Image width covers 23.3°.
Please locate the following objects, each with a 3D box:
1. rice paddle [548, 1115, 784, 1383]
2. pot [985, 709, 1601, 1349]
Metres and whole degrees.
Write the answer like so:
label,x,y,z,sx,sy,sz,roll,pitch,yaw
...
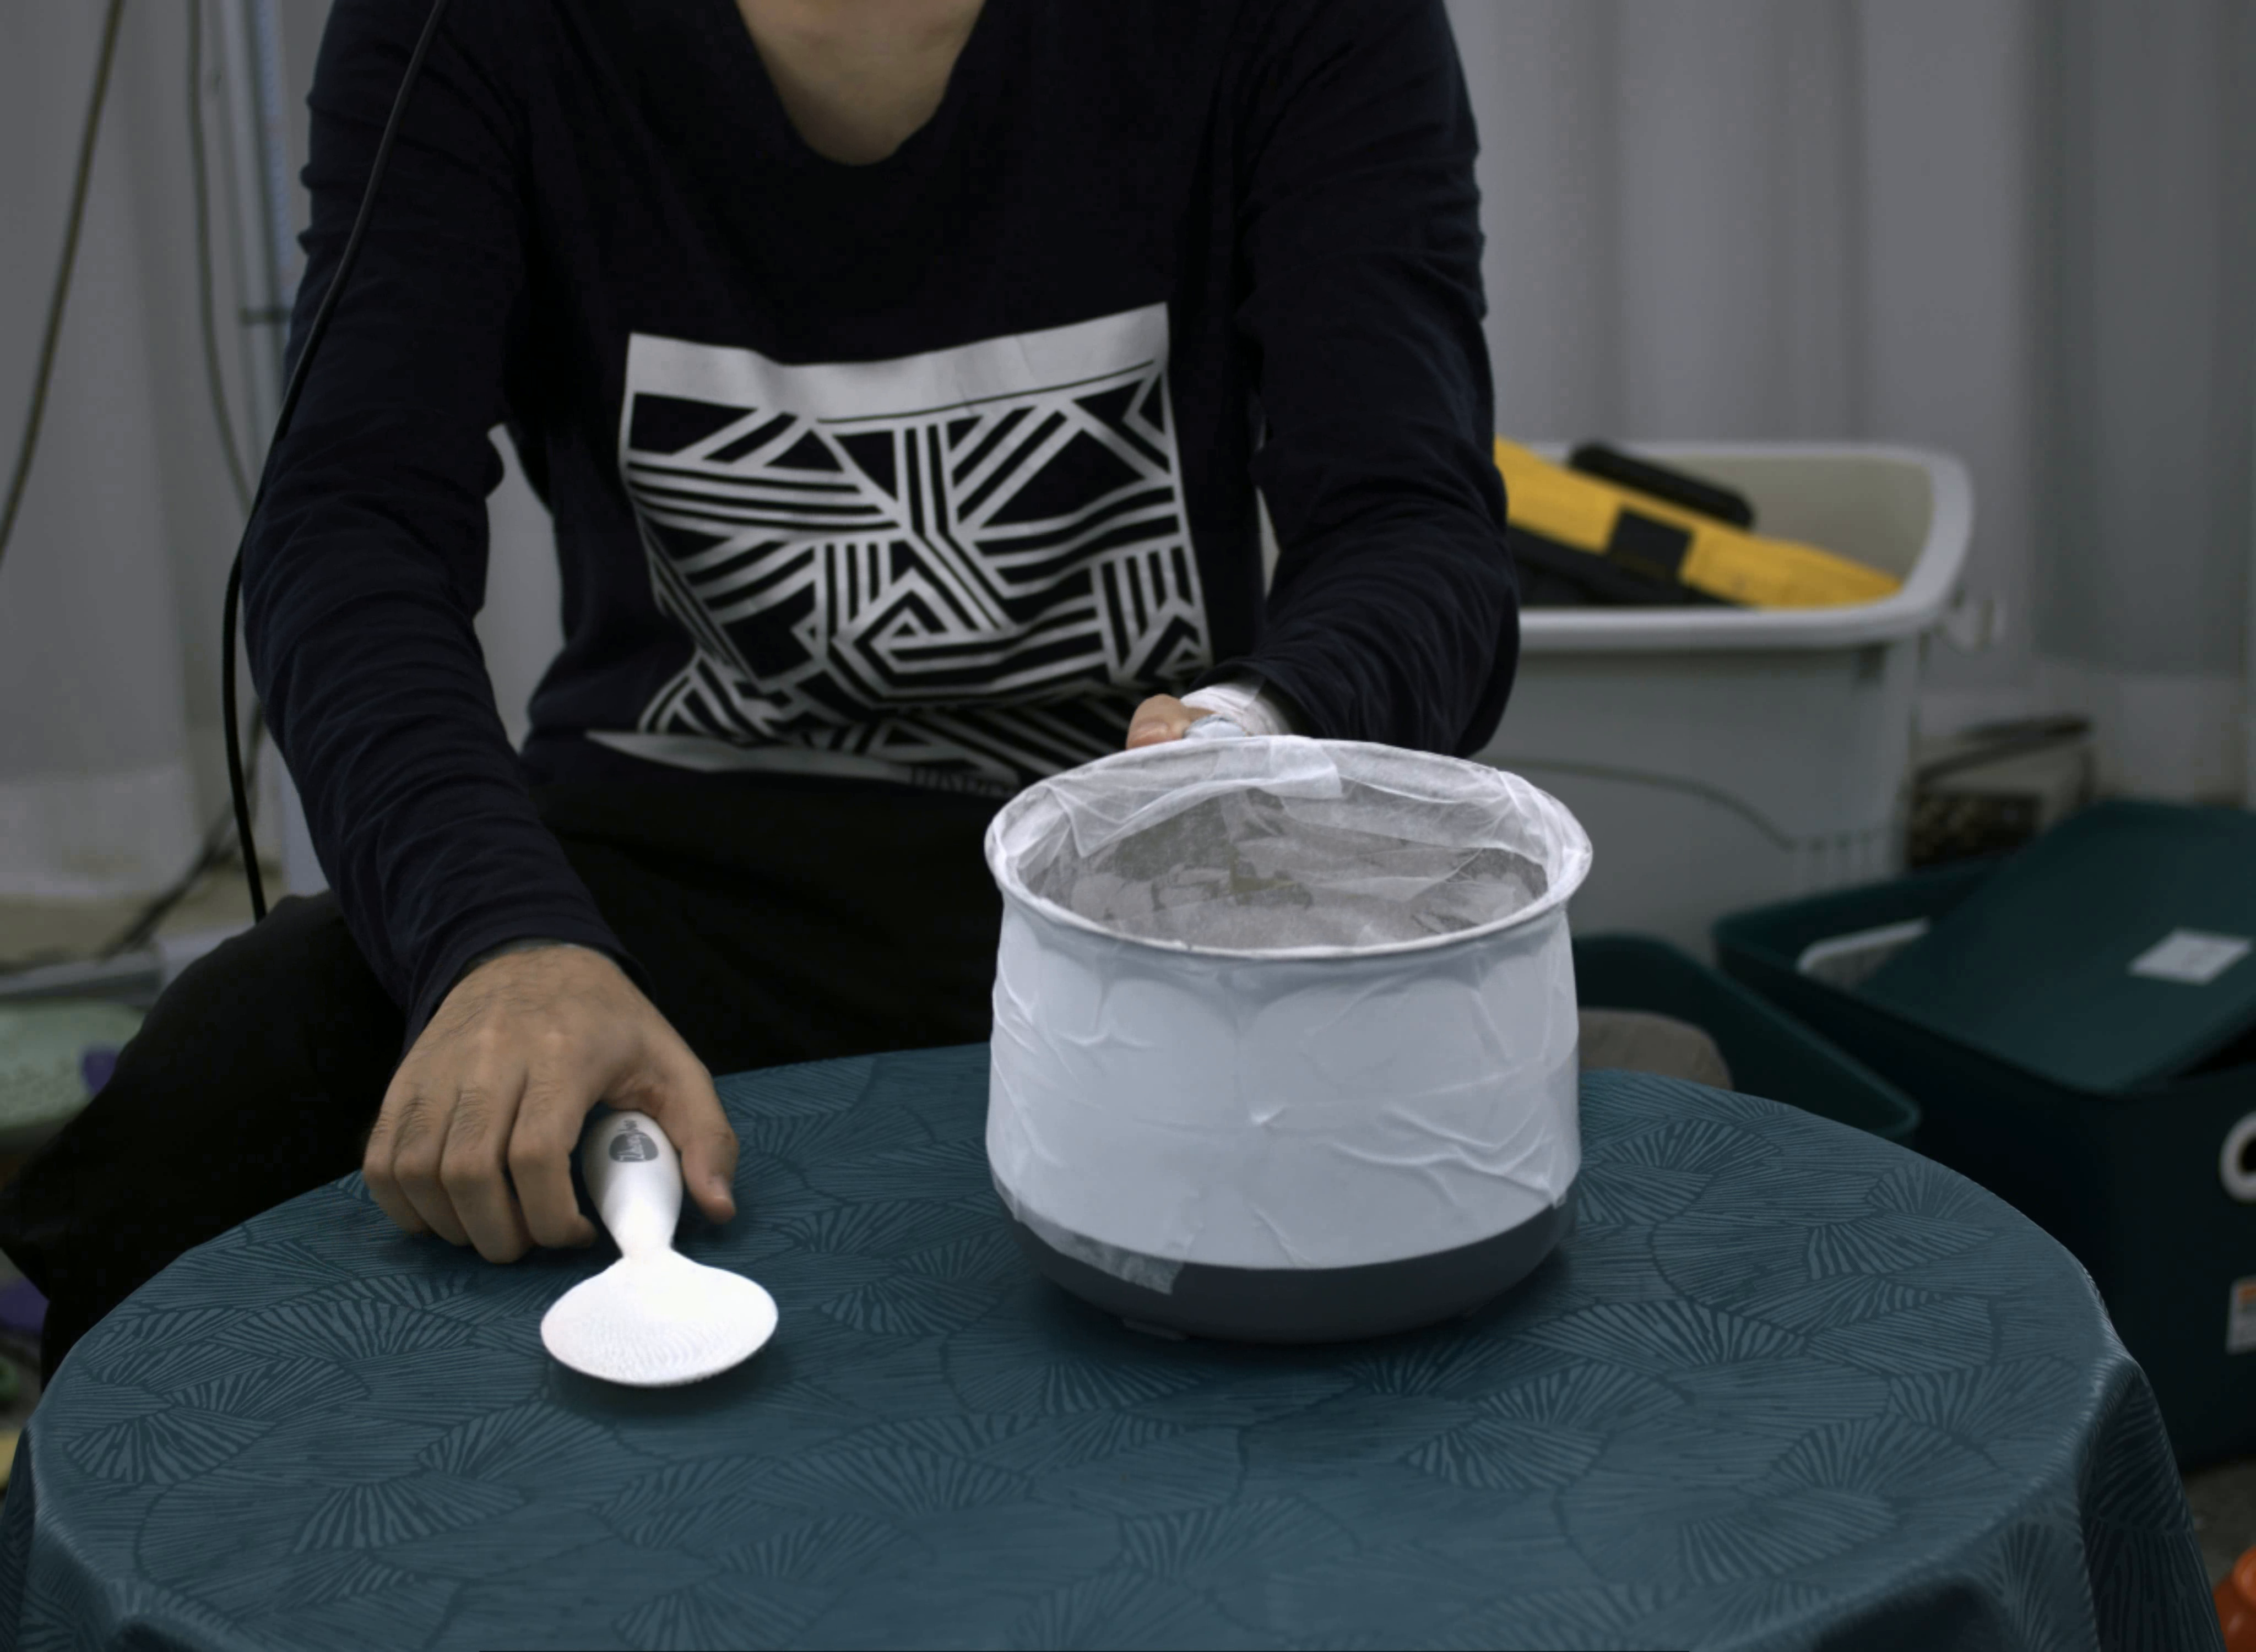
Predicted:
label,x,y,z,sx,sy,sz,roll,pitch,yaw
rice paddle,-0.142,0.129,1.636,0.068,0.029,0.207,-7,14,-7
pot,0.040,0.054,1.636,0.178,0.136,0.236,-3,21,-13
